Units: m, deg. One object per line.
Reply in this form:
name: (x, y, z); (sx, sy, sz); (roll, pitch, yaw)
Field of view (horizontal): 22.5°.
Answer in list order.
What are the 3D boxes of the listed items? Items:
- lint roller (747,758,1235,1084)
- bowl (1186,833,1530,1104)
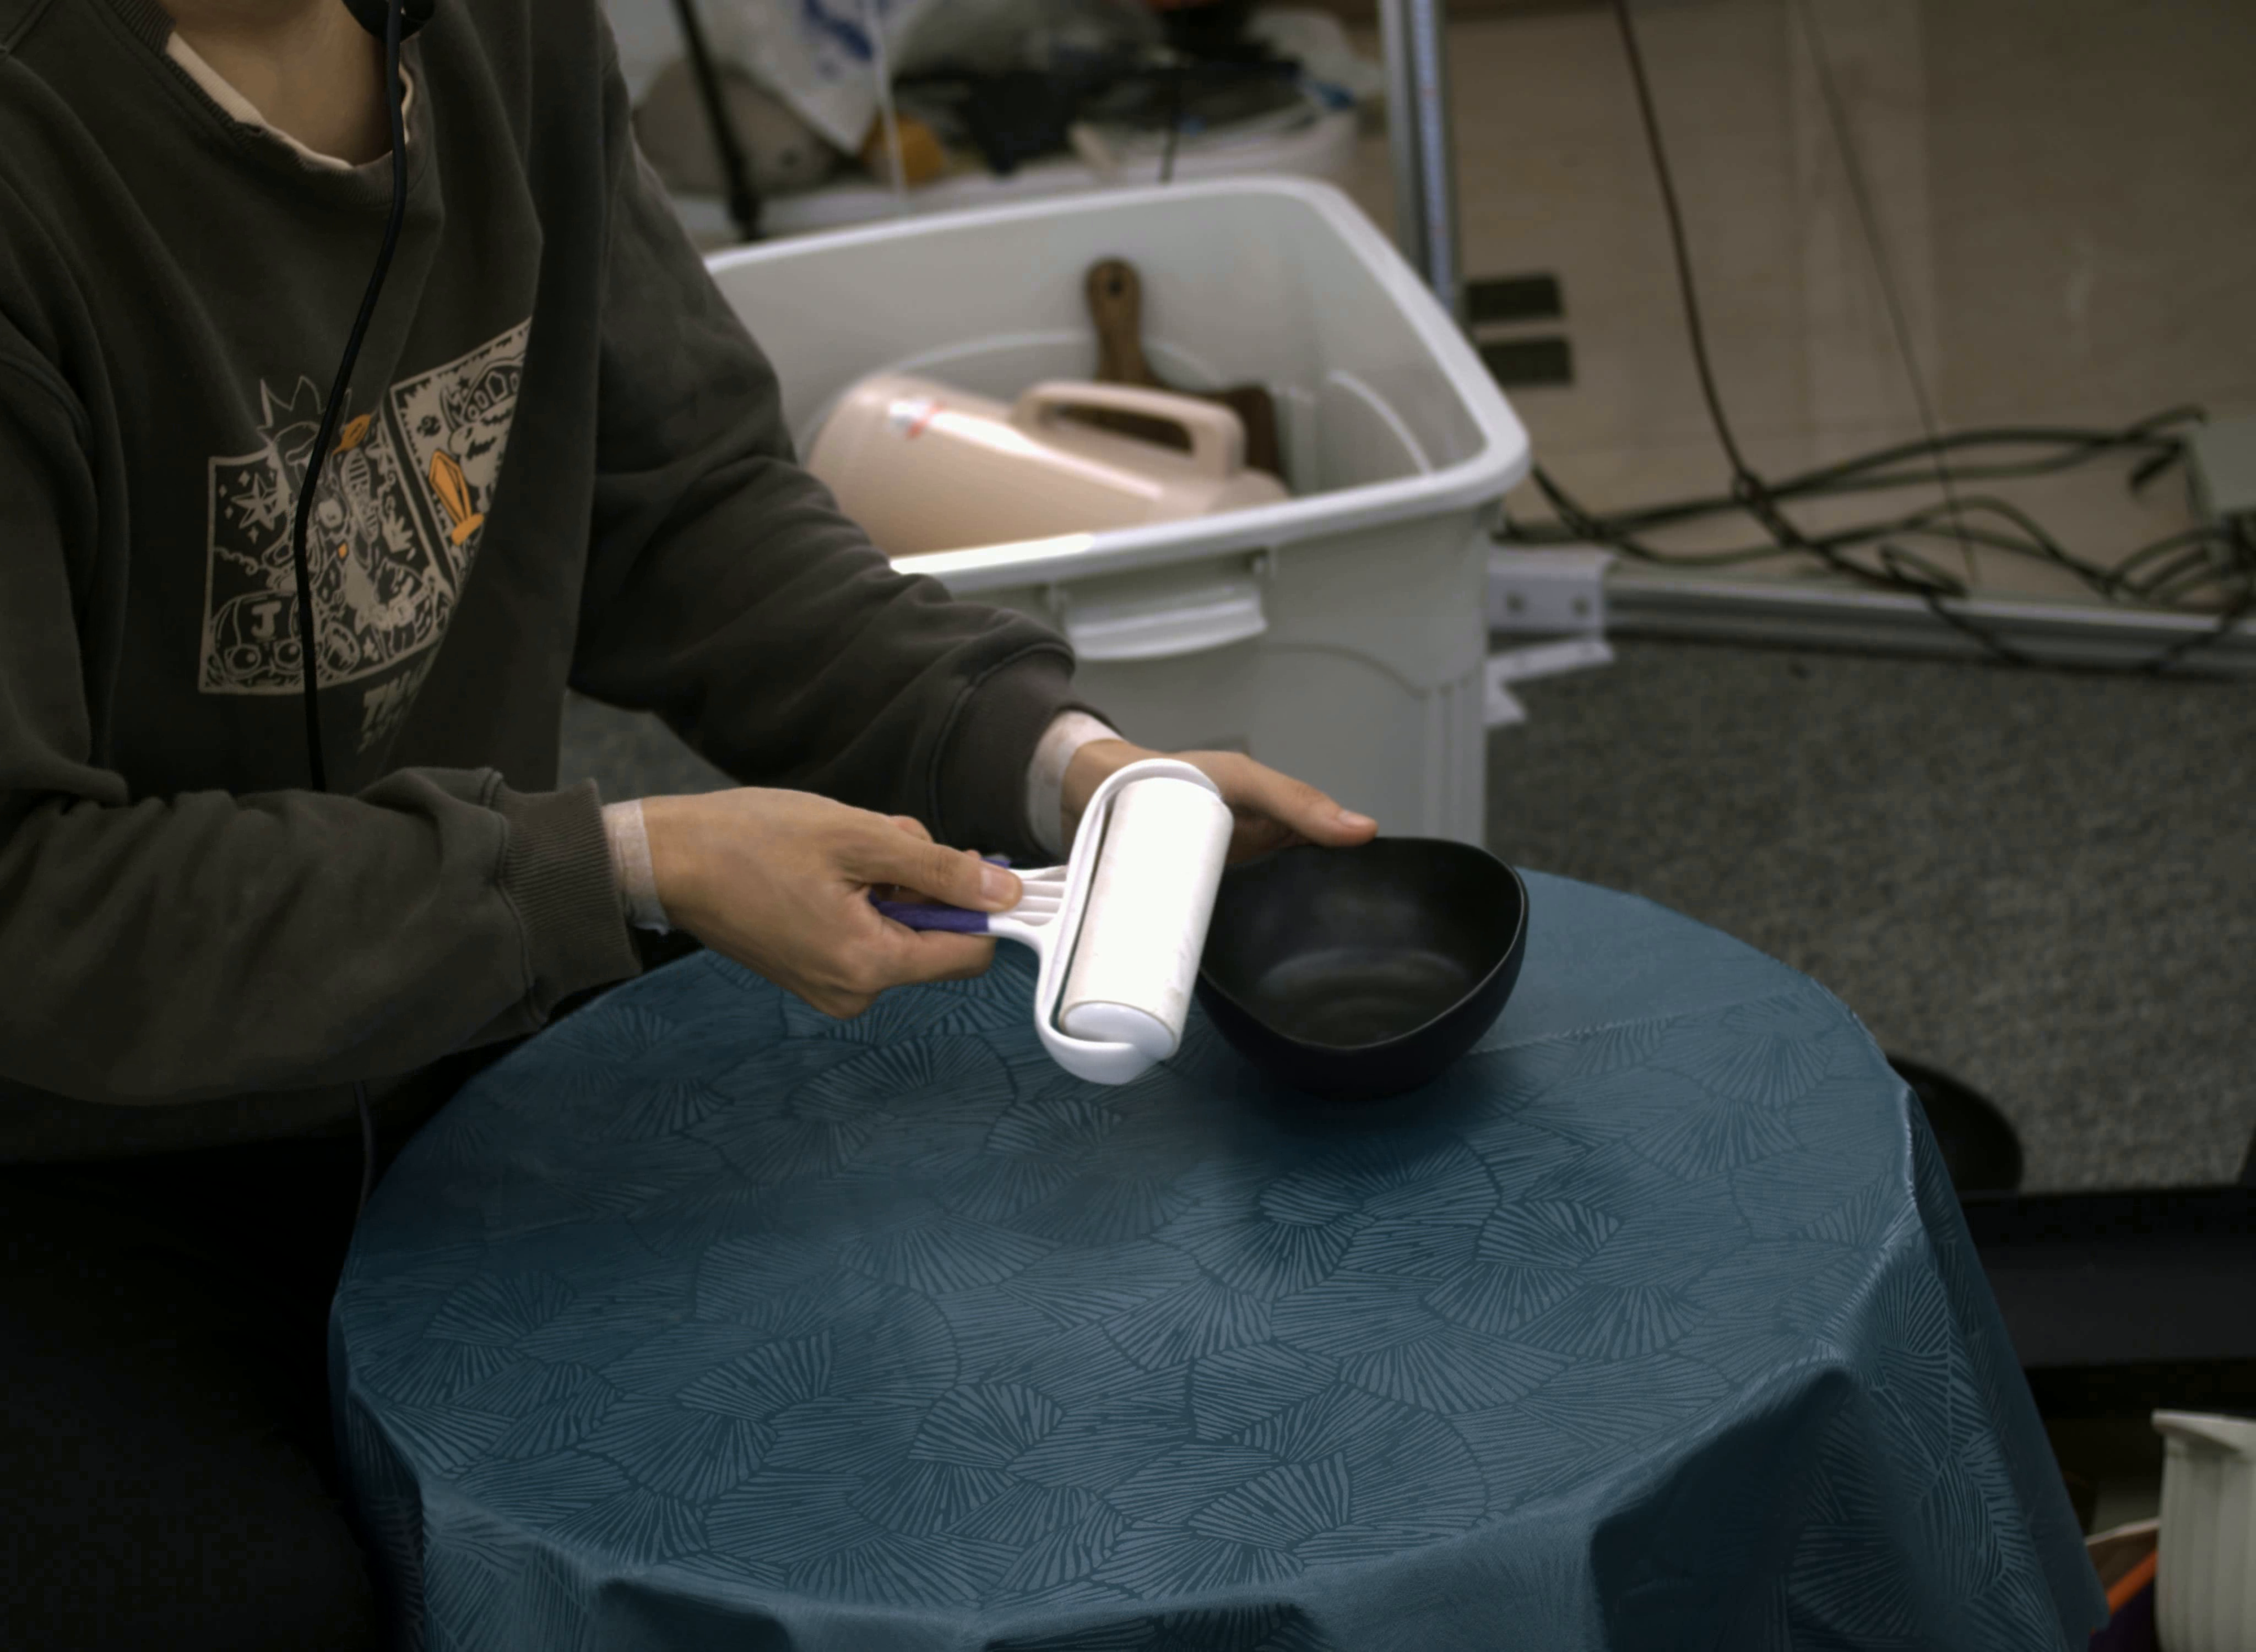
lint roller: (-0.056, 0.021, 2.138); (0.180, 0.051, 0.131); (14, 61, 5)
bowl: (0.091, 0.063, 2.211); (0.137, 0.068, 0.167); (-7, 27, 1)
